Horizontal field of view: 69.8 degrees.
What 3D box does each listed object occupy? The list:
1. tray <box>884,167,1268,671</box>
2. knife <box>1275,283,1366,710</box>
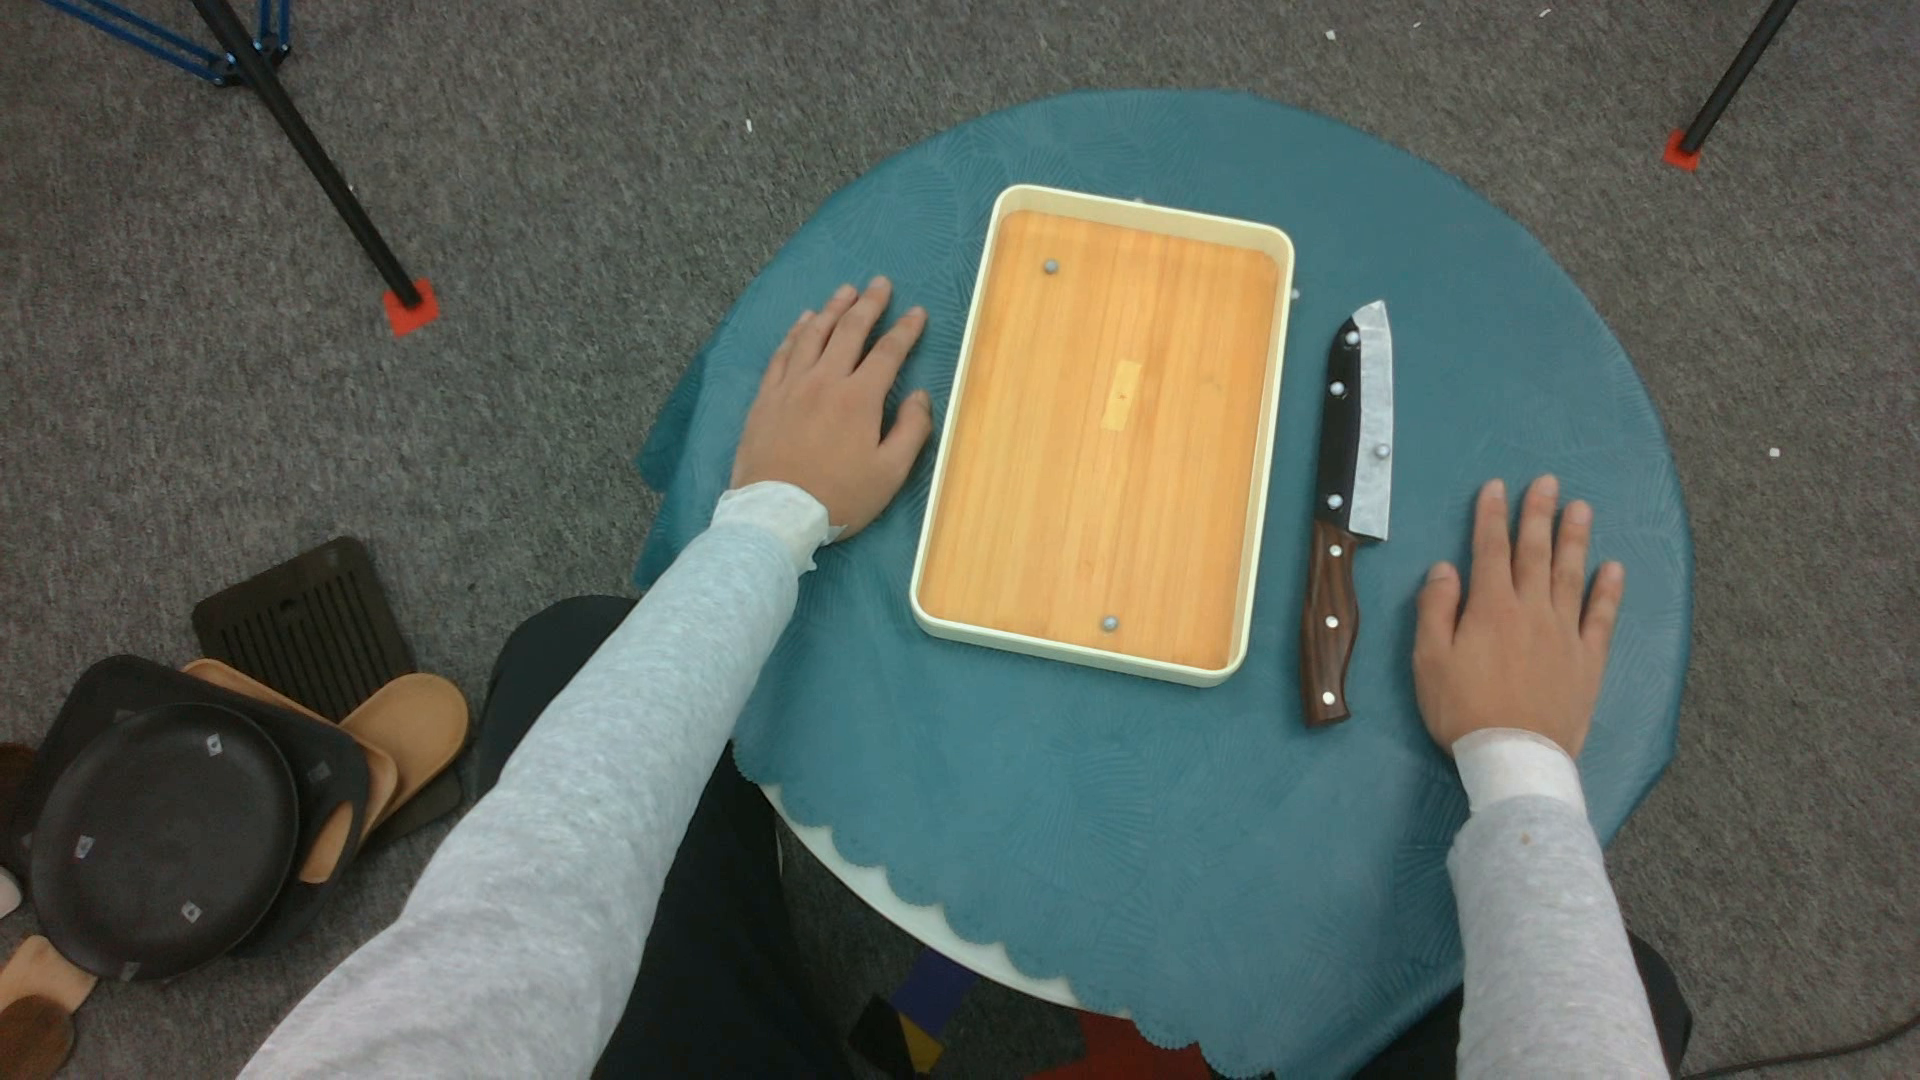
[{"bbox_3d":[0.074,-0.080,0.819,0.191,0.027,0.301,11,68,2],"label":"tray"},{"bbox_3d":[0.215,-0.035,0.814,0.050,0.020,0.290,14,66,-2],"label":"knife"}]
